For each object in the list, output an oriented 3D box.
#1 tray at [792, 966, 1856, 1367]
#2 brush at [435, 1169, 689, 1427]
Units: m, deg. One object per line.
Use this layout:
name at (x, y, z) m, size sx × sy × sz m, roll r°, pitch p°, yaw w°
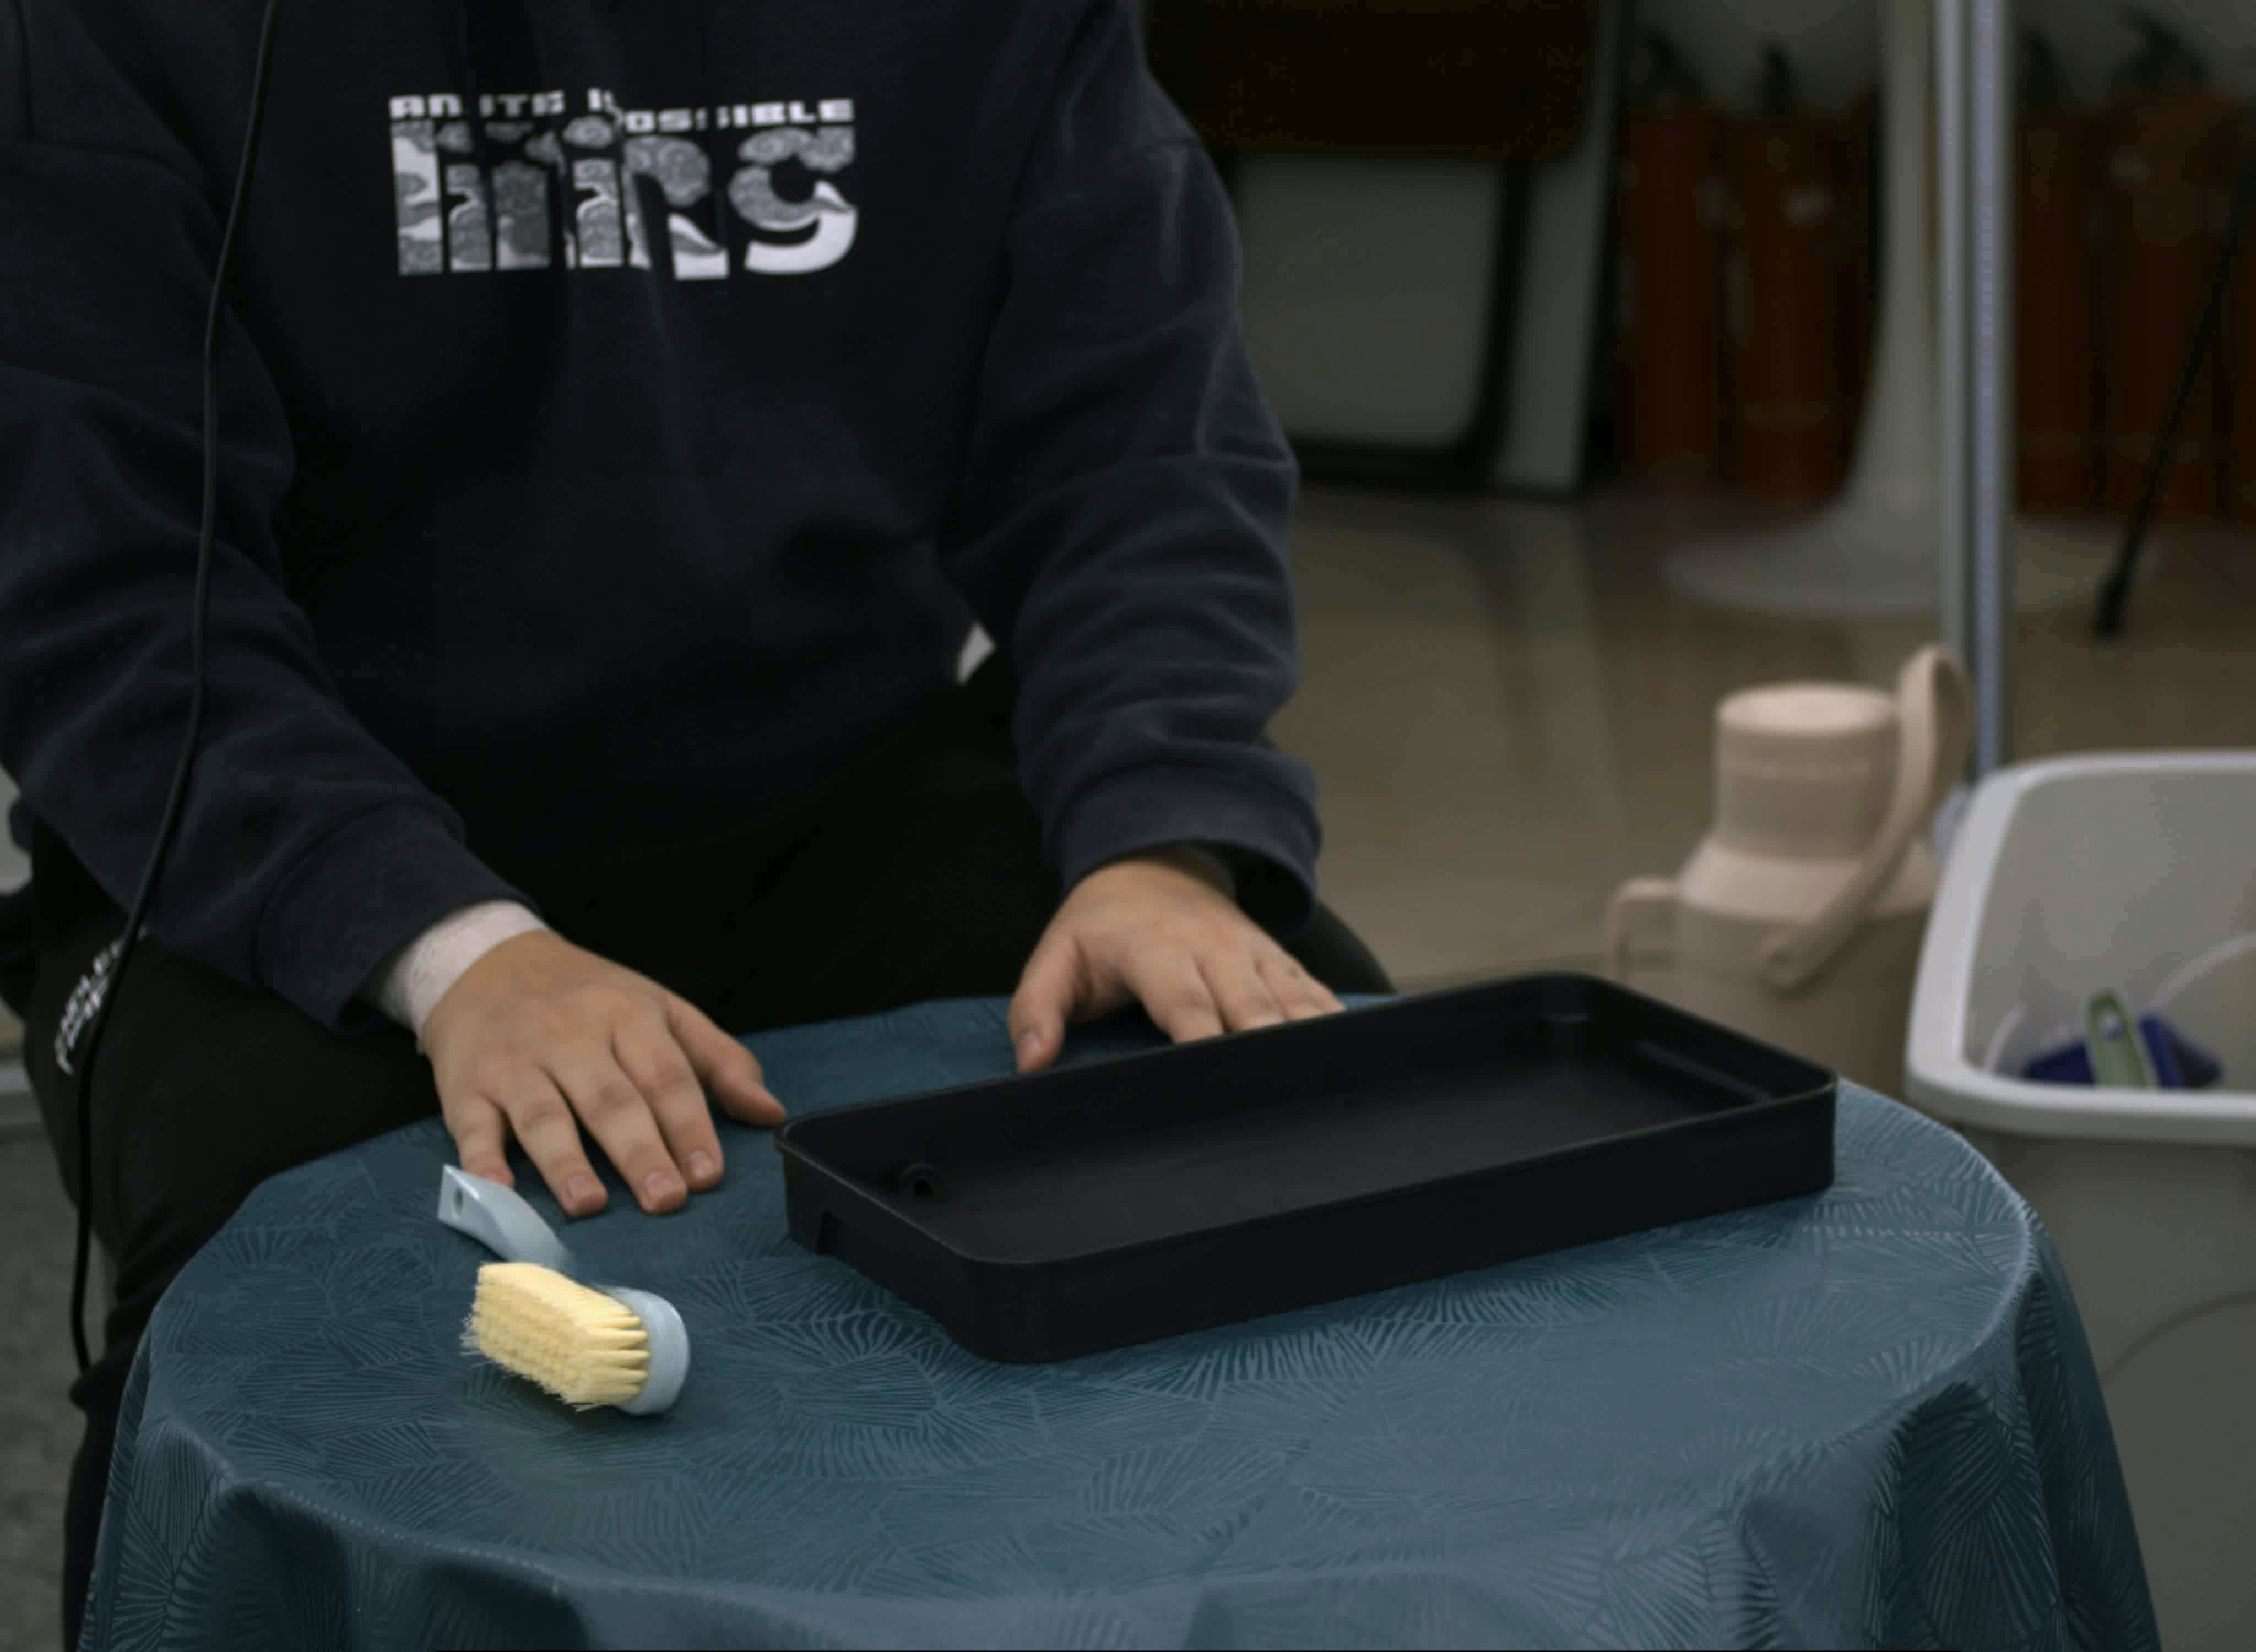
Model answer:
tray at (0.064, 0.105, 1.745) m, size 0.311 × 0.037 × 0.186 m, roll -11°, pitch 15°, yaw -26°
brush at (-0.189, 0.140, 1.674) m, size 0.048 × 0.038 × 0.231 m, roll 3°, pitch 9°, yaw -21°
